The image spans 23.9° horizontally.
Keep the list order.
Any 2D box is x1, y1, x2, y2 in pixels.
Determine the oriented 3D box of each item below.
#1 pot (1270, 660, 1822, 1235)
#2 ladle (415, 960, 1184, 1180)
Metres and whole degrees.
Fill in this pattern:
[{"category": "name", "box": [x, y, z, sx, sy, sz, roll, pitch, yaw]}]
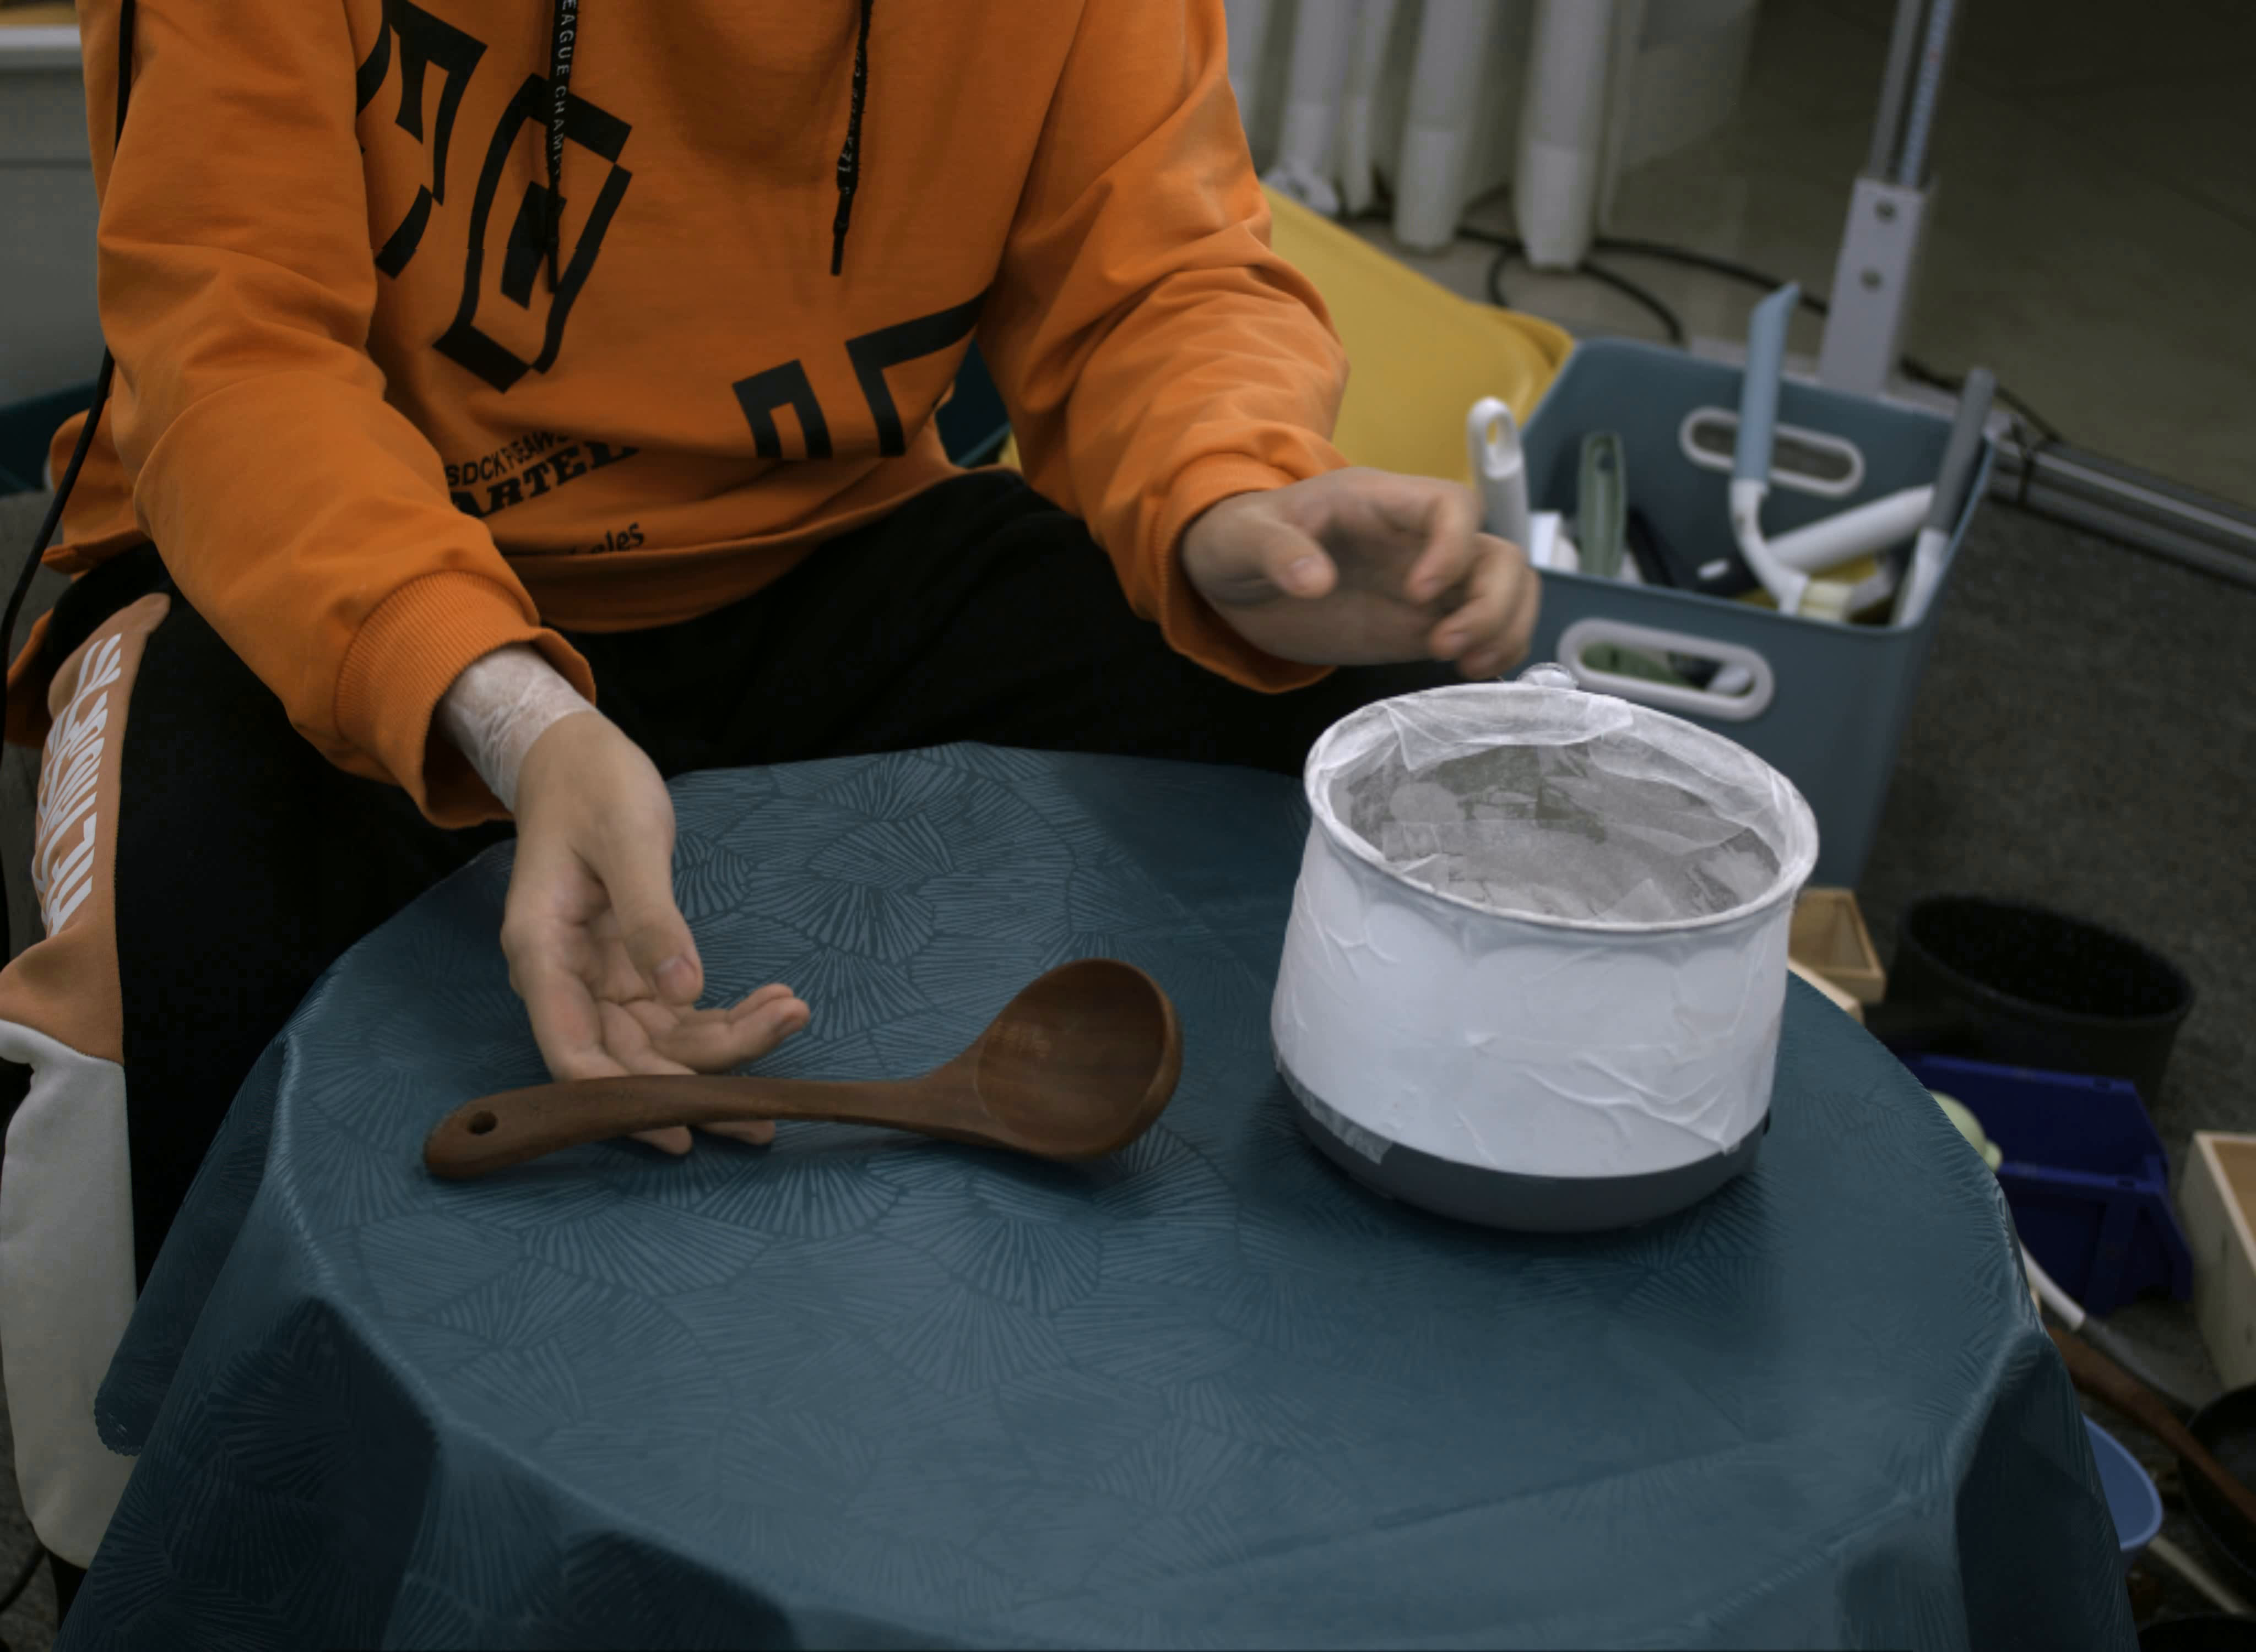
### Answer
[{"category": "pot", "box": [0.140, 0.035, 1.857, 0.178, 0.136, 0.235, 6, 27, -2]}, {"category": "ladle", "box": [-0.108, 0.085, 1.785, 0.258, 0.065, 0.077, -2, 42, -17]}]
